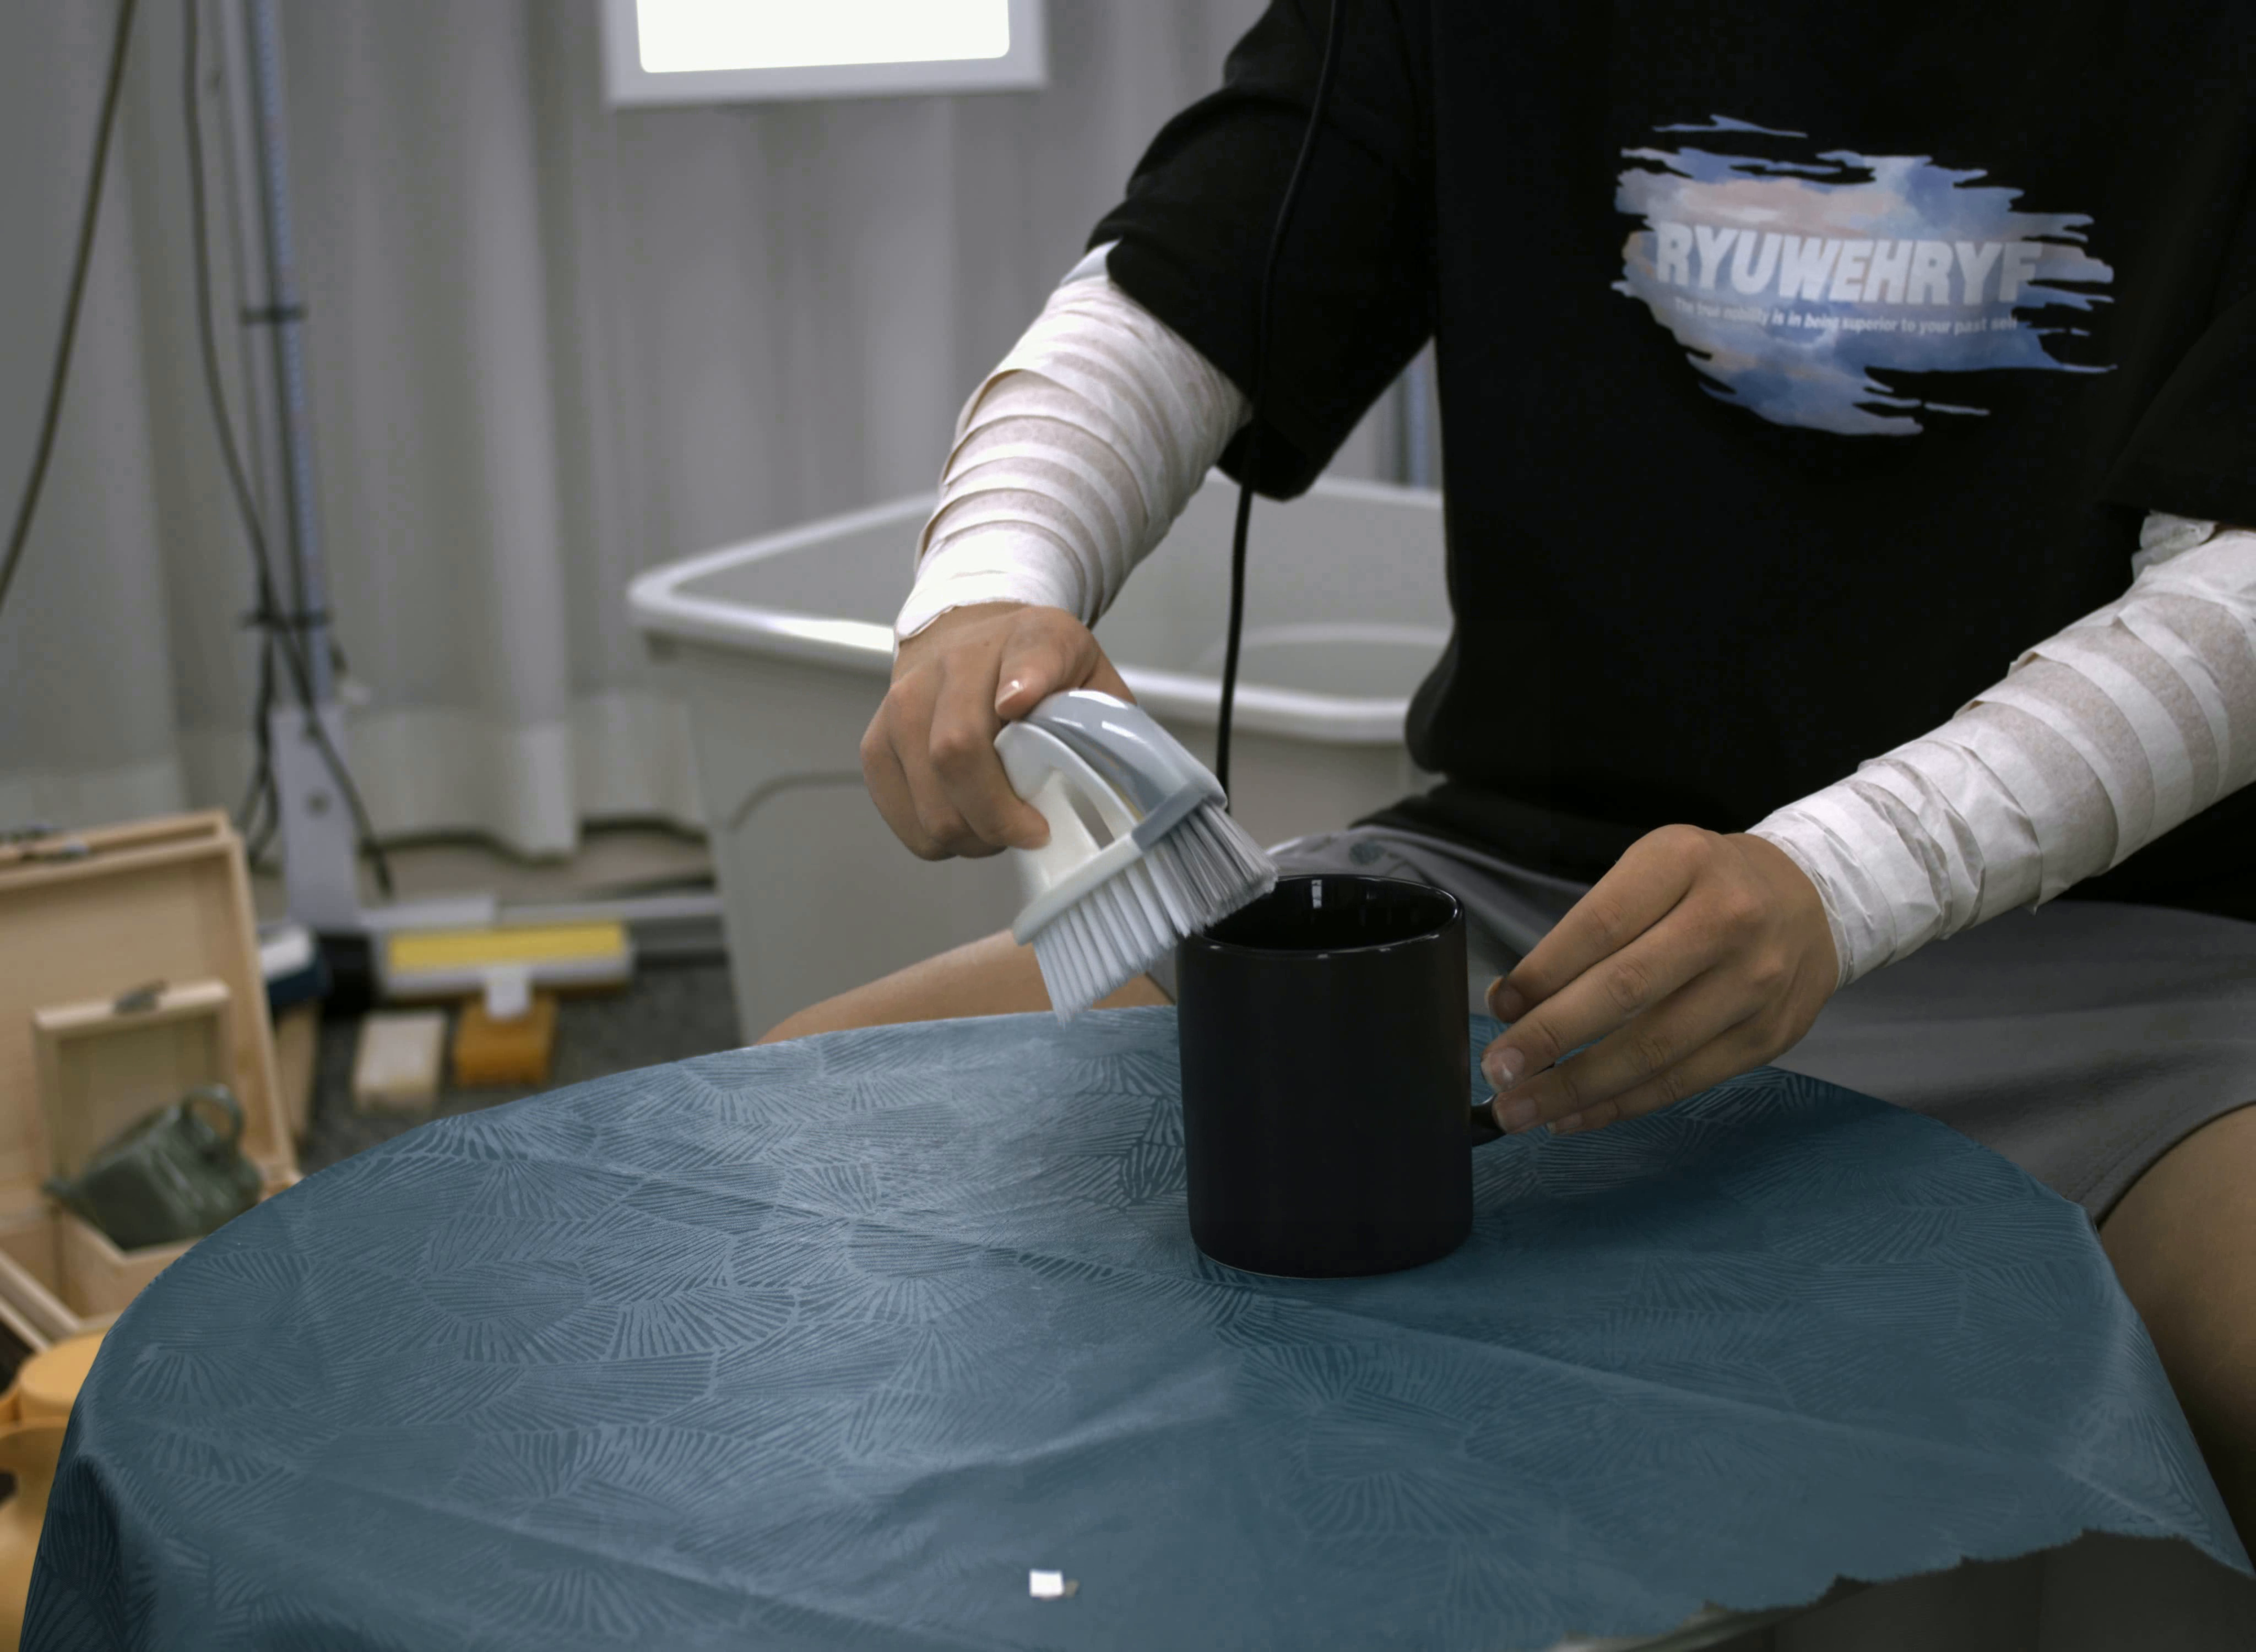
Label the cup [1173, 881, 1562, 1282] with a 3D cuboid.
[{"bbox_3d":[0.076,0.074,1.658,0.123,0.105,0.089,-7,10,-24],"label":"cup"}]

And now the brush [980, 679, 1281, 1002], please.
[{"bbox_3d":[-0.003,-0.005,1.686,0.061,0.094,0.175,-33,-1,-17],"label":"brush"}]
